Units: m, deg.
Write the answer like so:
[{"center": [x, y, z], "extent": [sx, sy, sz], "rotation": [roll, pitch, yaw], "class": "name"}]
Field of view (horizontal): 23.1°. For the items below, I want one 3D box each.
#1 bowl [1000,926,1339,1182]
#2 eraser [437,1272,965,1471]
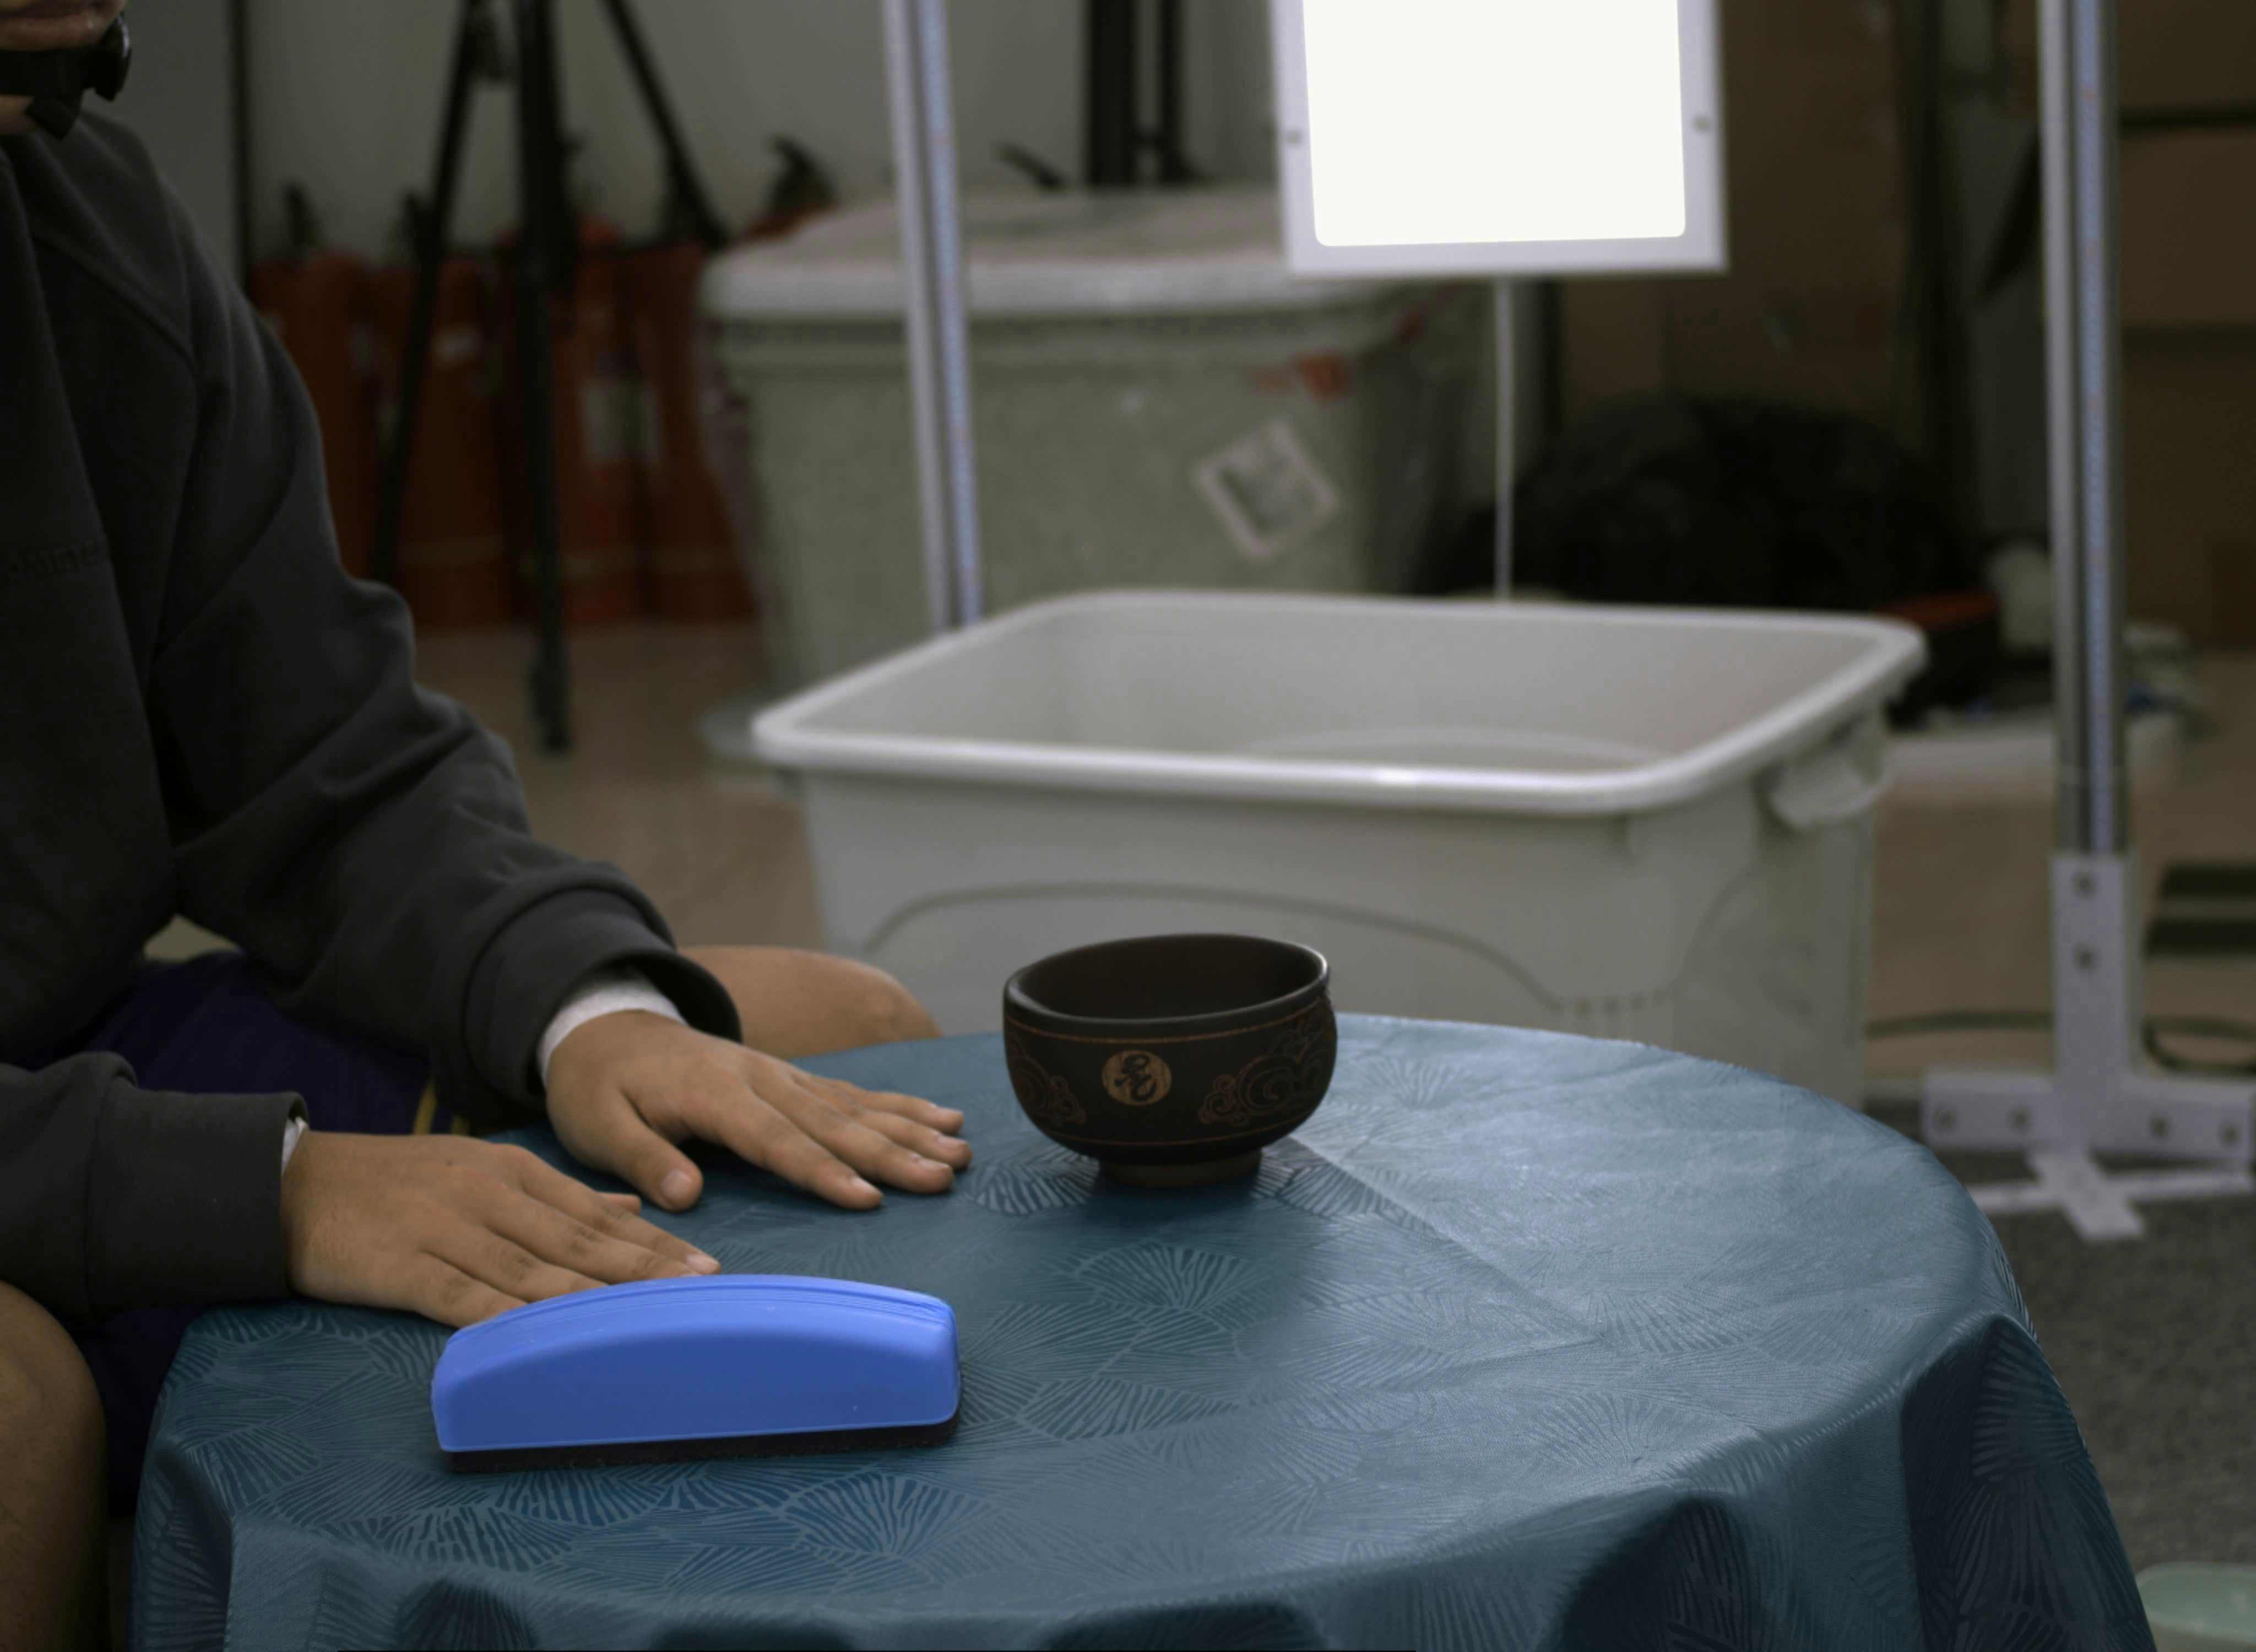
[{"center": [0.016, 0.083, 1.915], "extent": [0.118, 0.070, 0.118], "rotation": [-6, 14, 0], "class": "bowl"}, {"center": [-0.131, 0.165, 1.692], "extent": [0.162, 0.048, 0.053], "rotation": [-4, 16, 5], "class": "eraser"}]
